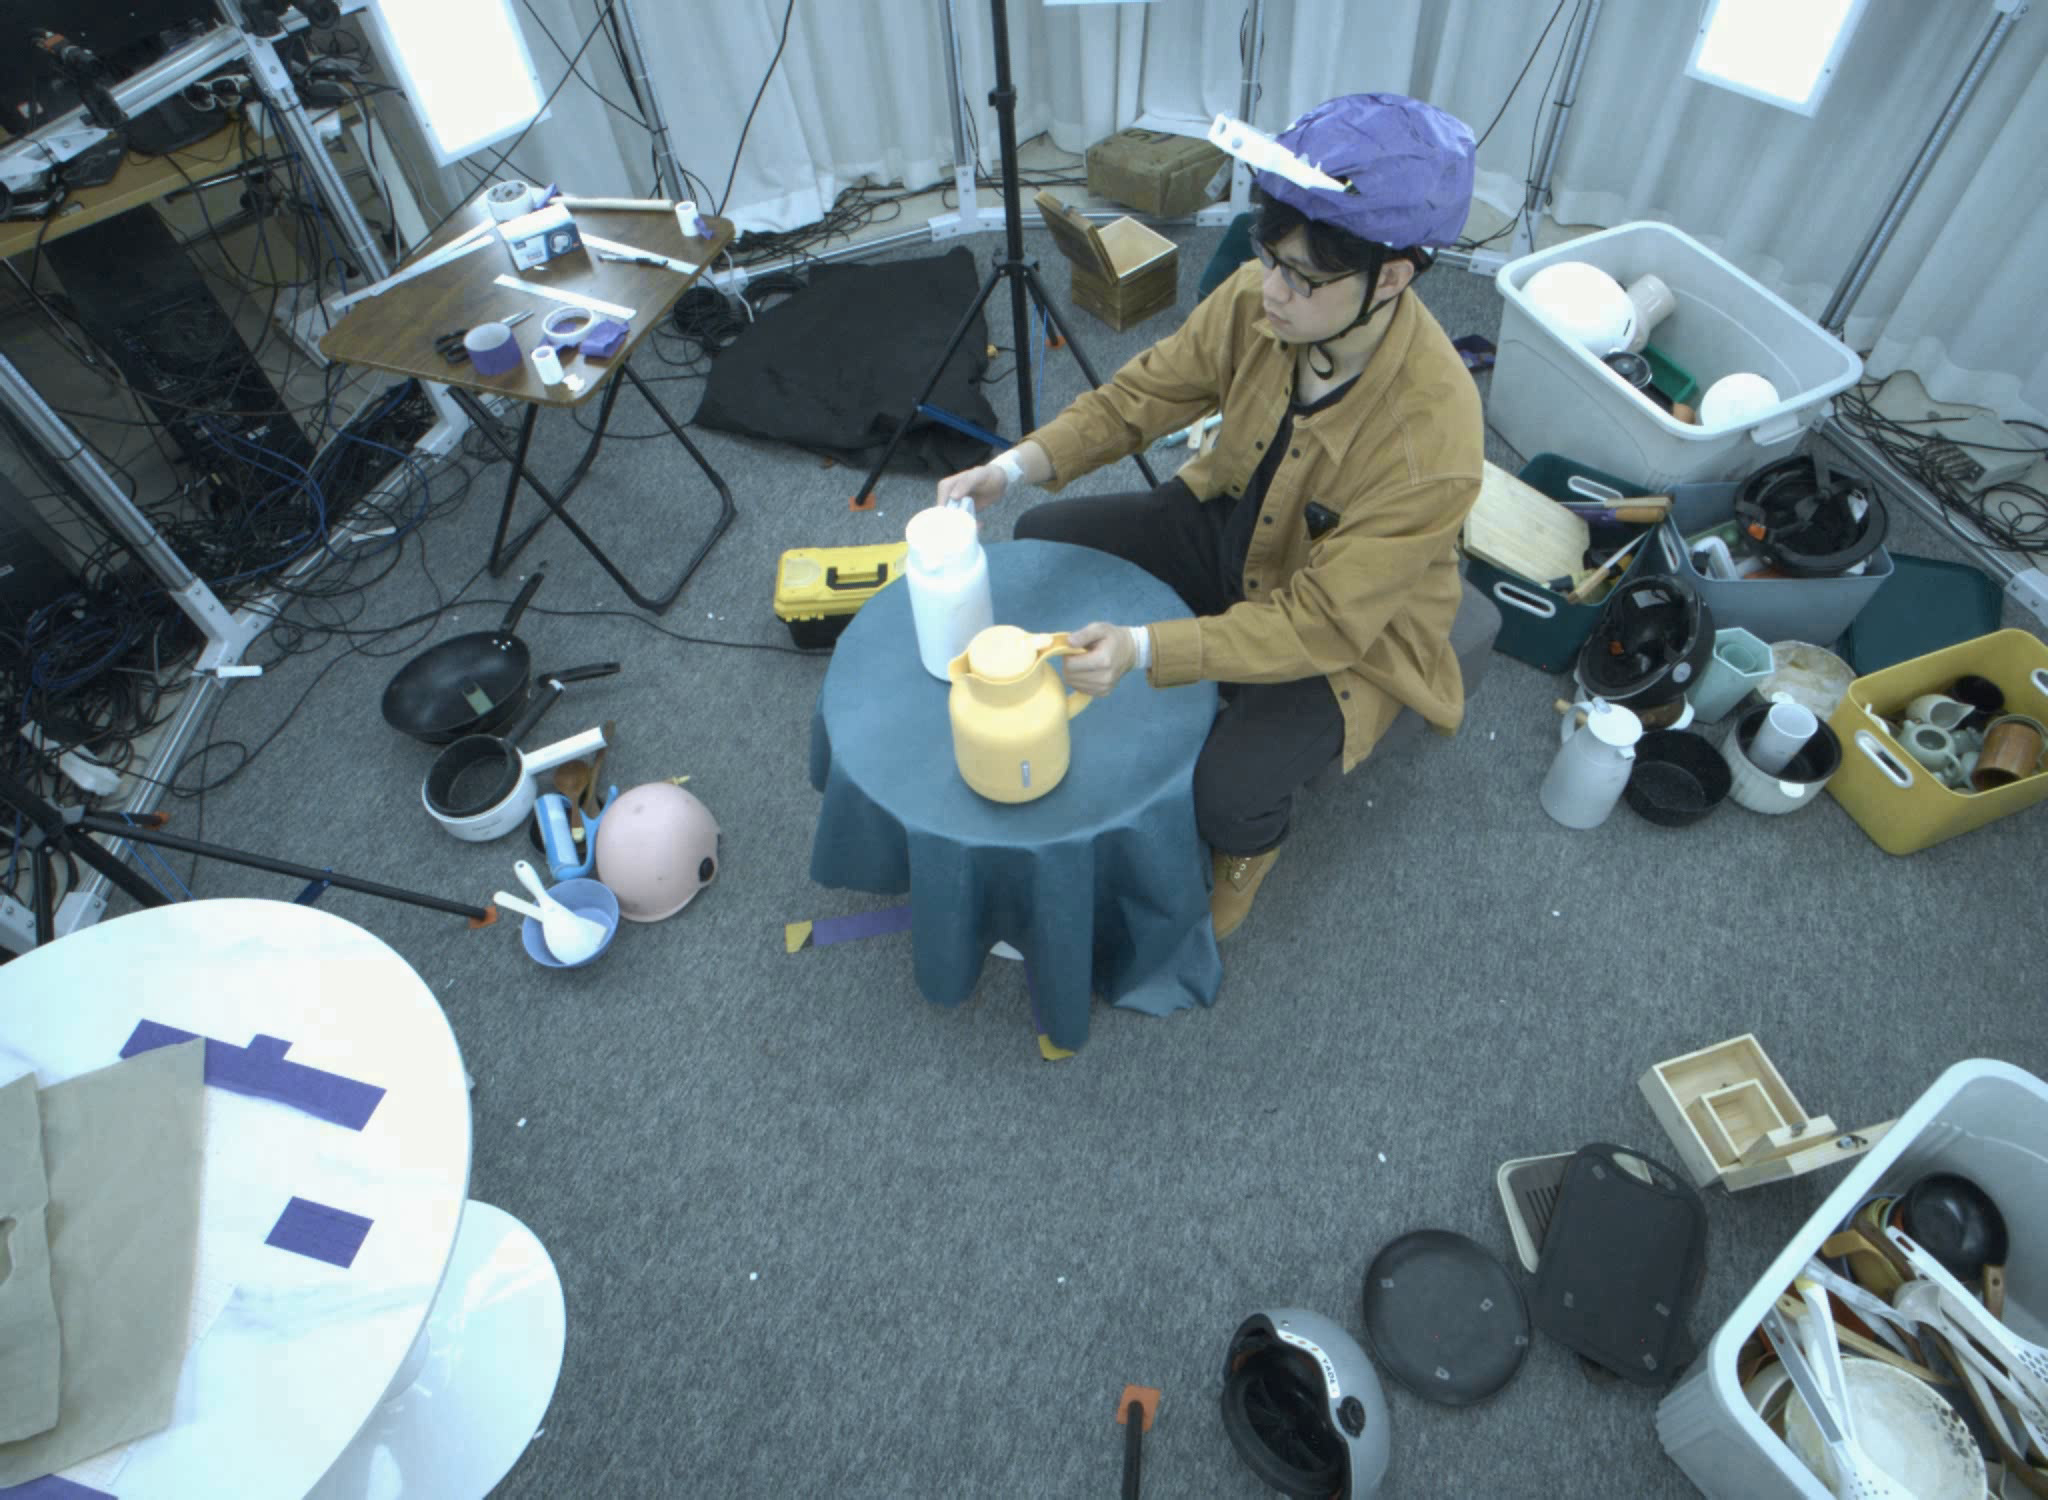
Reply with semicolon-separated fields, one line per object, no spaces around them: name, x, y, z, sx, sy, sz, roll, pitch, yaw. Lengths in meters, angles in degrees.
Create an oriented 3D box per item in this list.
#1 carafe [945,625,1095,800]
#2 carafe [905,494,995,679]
carafe;-0.002;-0.060;1.663;0.203;0.263;0.161;-15;58;-5
carafe;-0.104;-0.240;1.792;0.123;0.272;0.172;8;56;12
